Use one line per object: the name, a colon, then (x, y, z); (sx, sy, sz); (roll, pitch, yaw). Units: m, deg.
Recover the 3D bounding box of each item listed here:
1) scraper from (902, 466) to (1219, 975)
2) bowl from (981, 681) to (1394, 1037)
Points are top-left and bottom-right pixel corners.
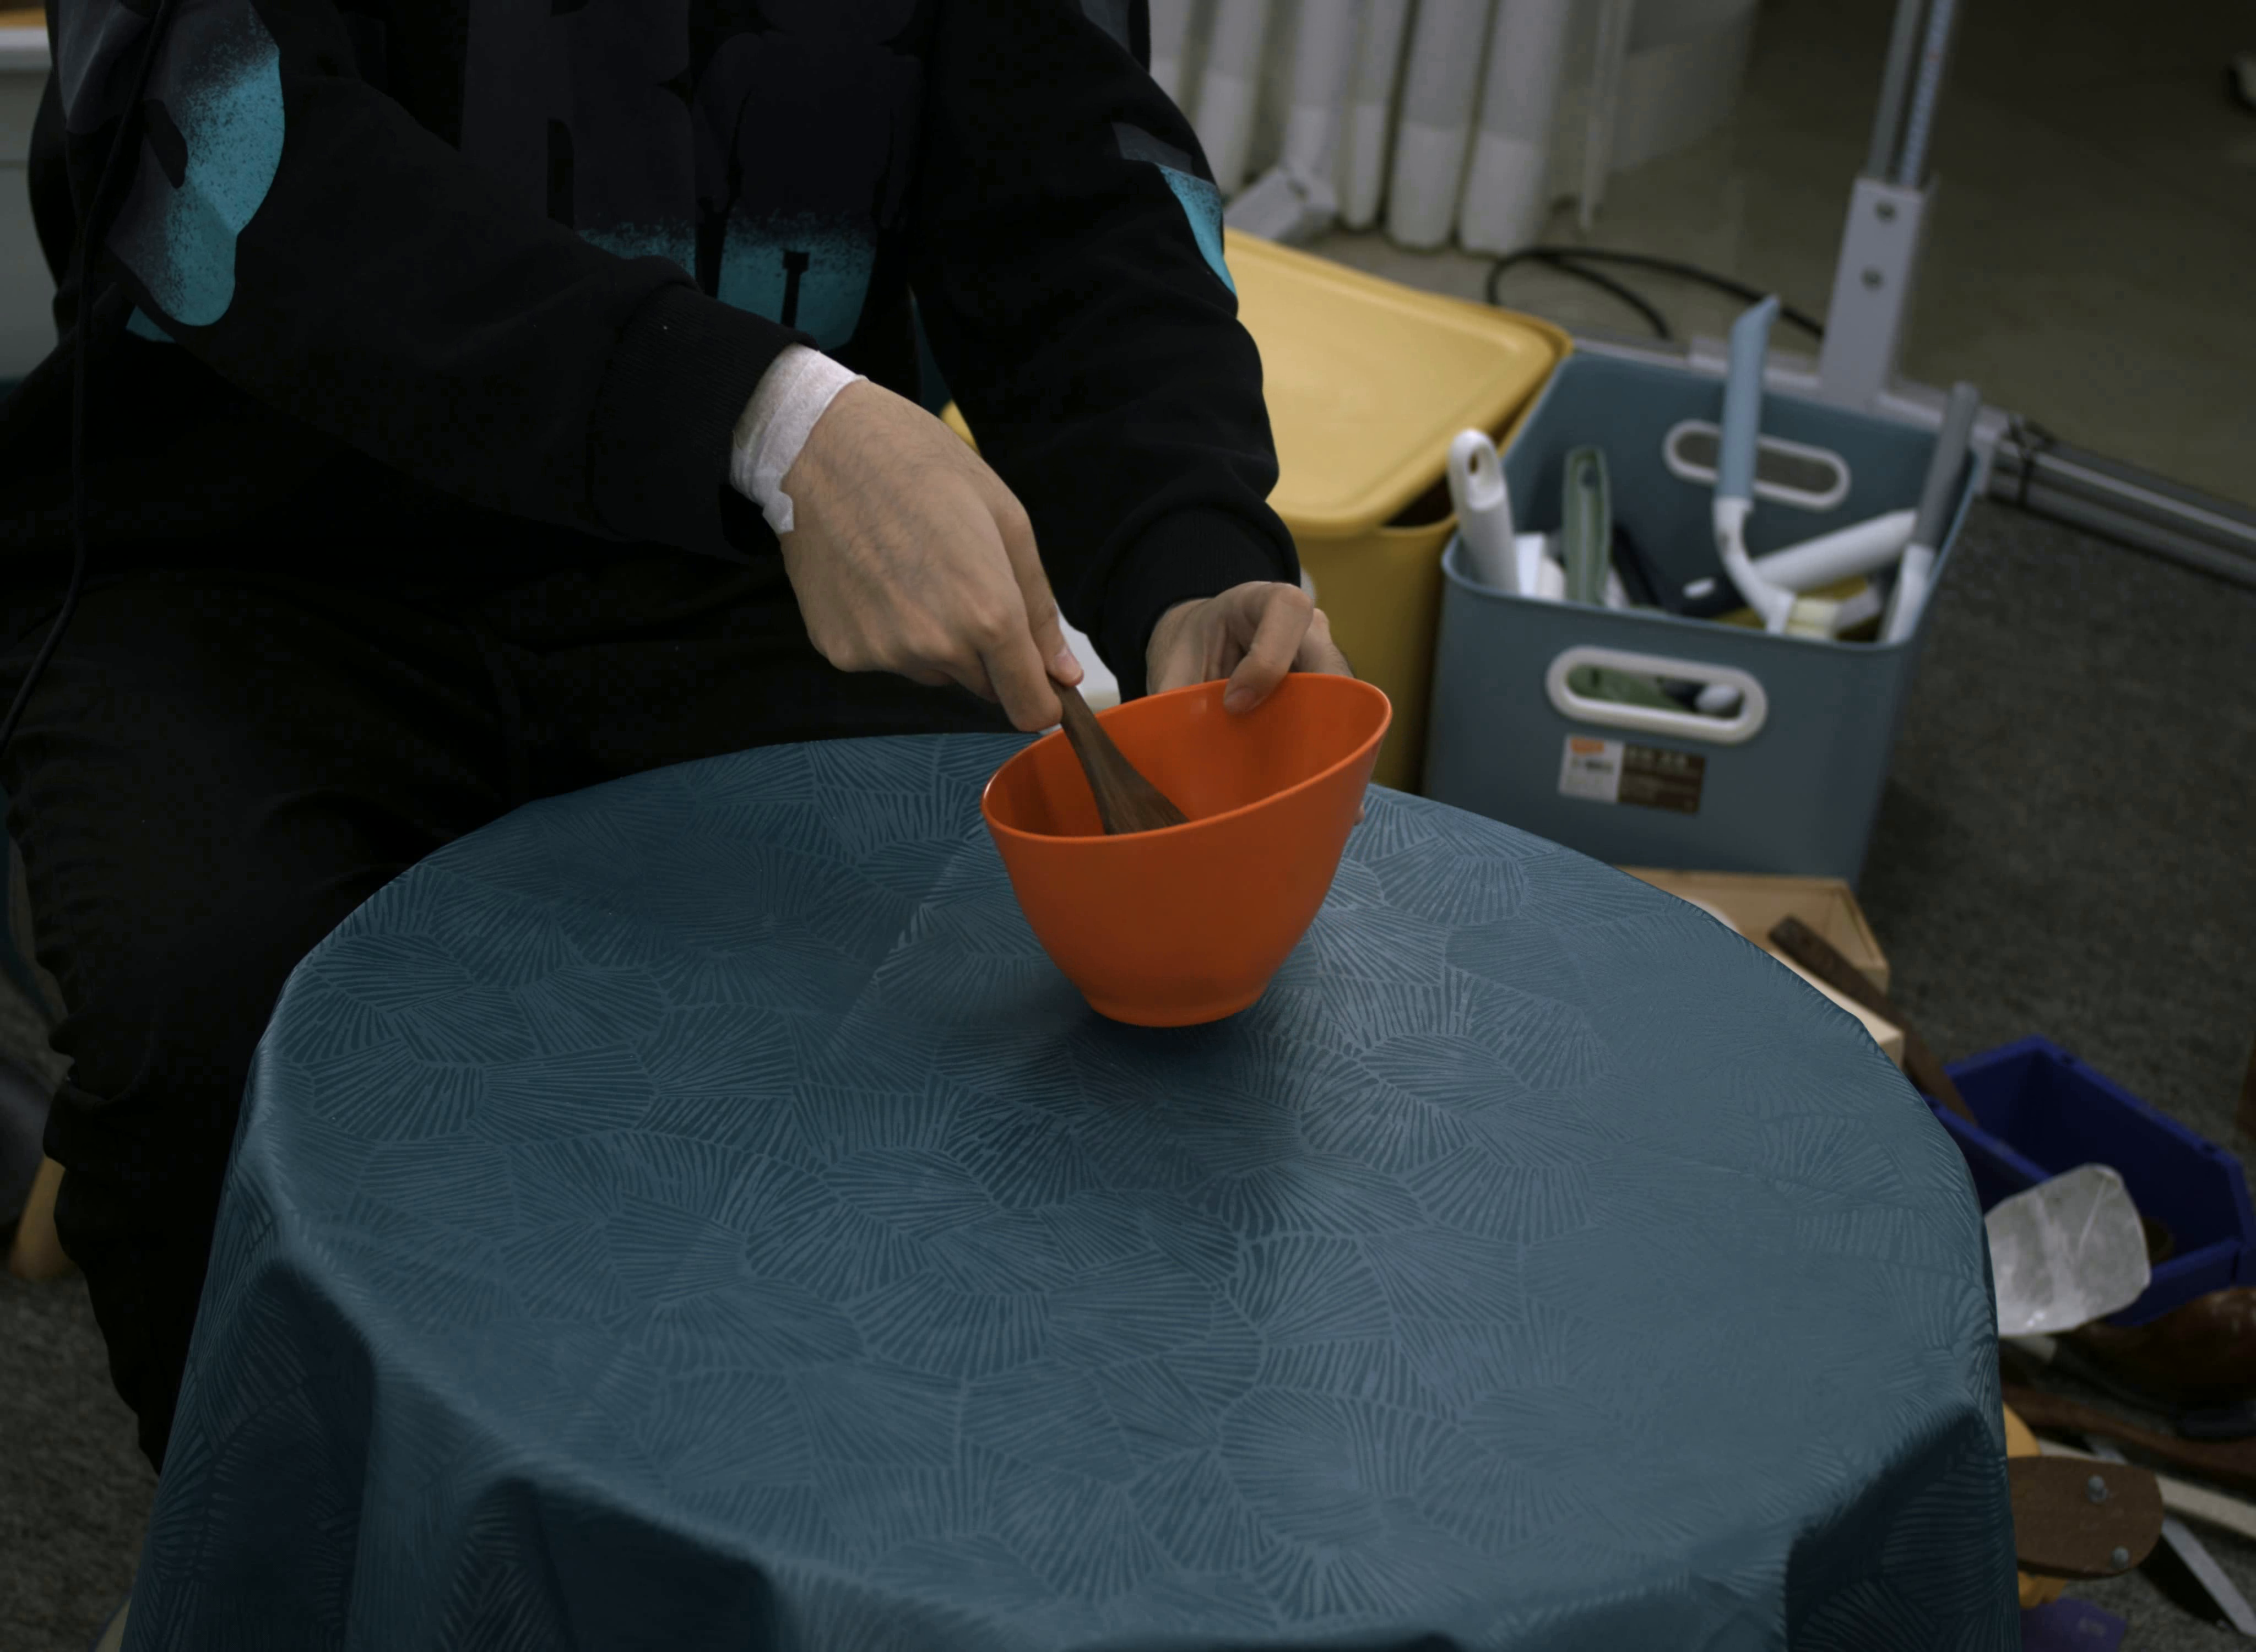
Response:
scraper: (-0.019, -0.038, 1.885); (0.212, 0.011, 0.075); (57, 26, 4)
bowl: (0.024, 0.015, 1.876); (0.147, 0.104, 0.149); (-5, 23, 2)
